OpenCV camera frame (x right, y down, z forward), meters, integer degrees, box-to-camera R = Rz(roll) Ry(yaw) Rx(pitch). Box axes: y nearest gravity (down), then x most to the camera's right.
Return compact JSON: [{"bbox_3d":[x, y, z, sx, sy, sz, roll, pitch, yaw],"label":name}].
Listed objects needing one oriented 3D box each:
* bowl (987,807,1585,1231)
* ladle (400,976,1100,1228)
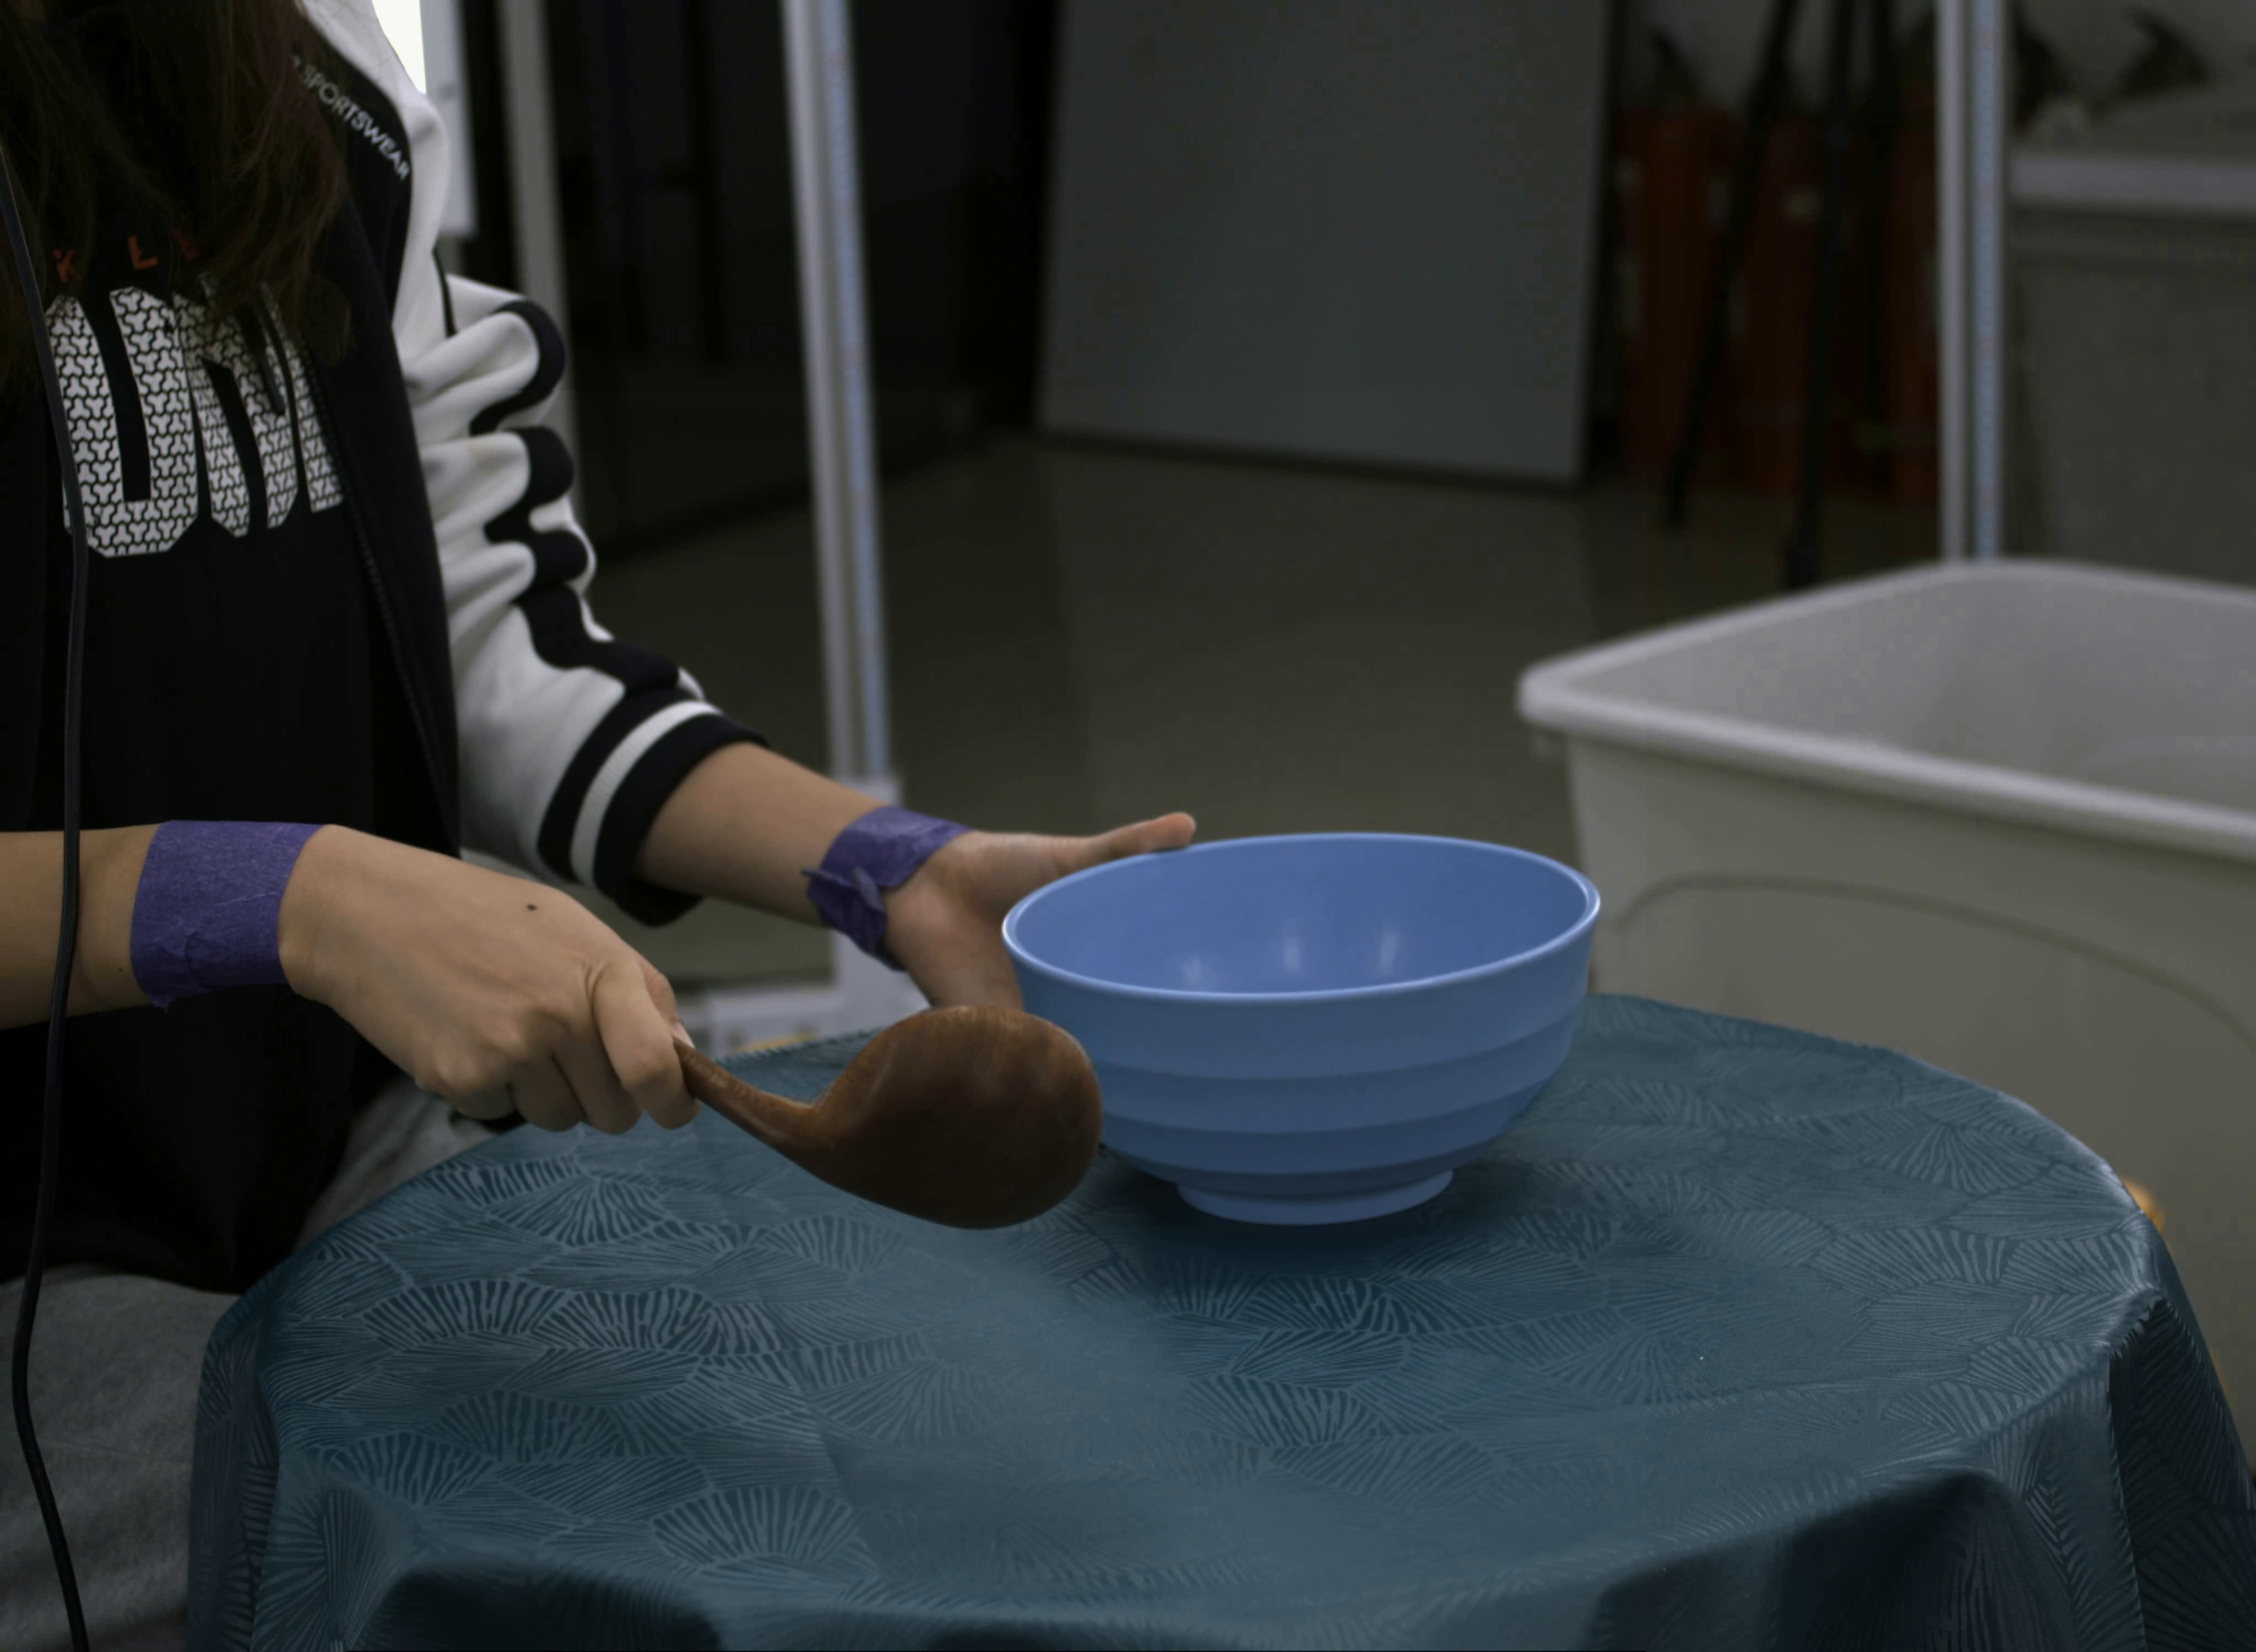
[{"bbox_3d":[0.053,0.070,1.762,0.194,0.096,0.197,-4,20,0],"label":"bowl"},{"bbox_3d":[-0.114,0.066,1.597,0.262,0.076,0.064,13,43,44],"label":"ladle"}]
